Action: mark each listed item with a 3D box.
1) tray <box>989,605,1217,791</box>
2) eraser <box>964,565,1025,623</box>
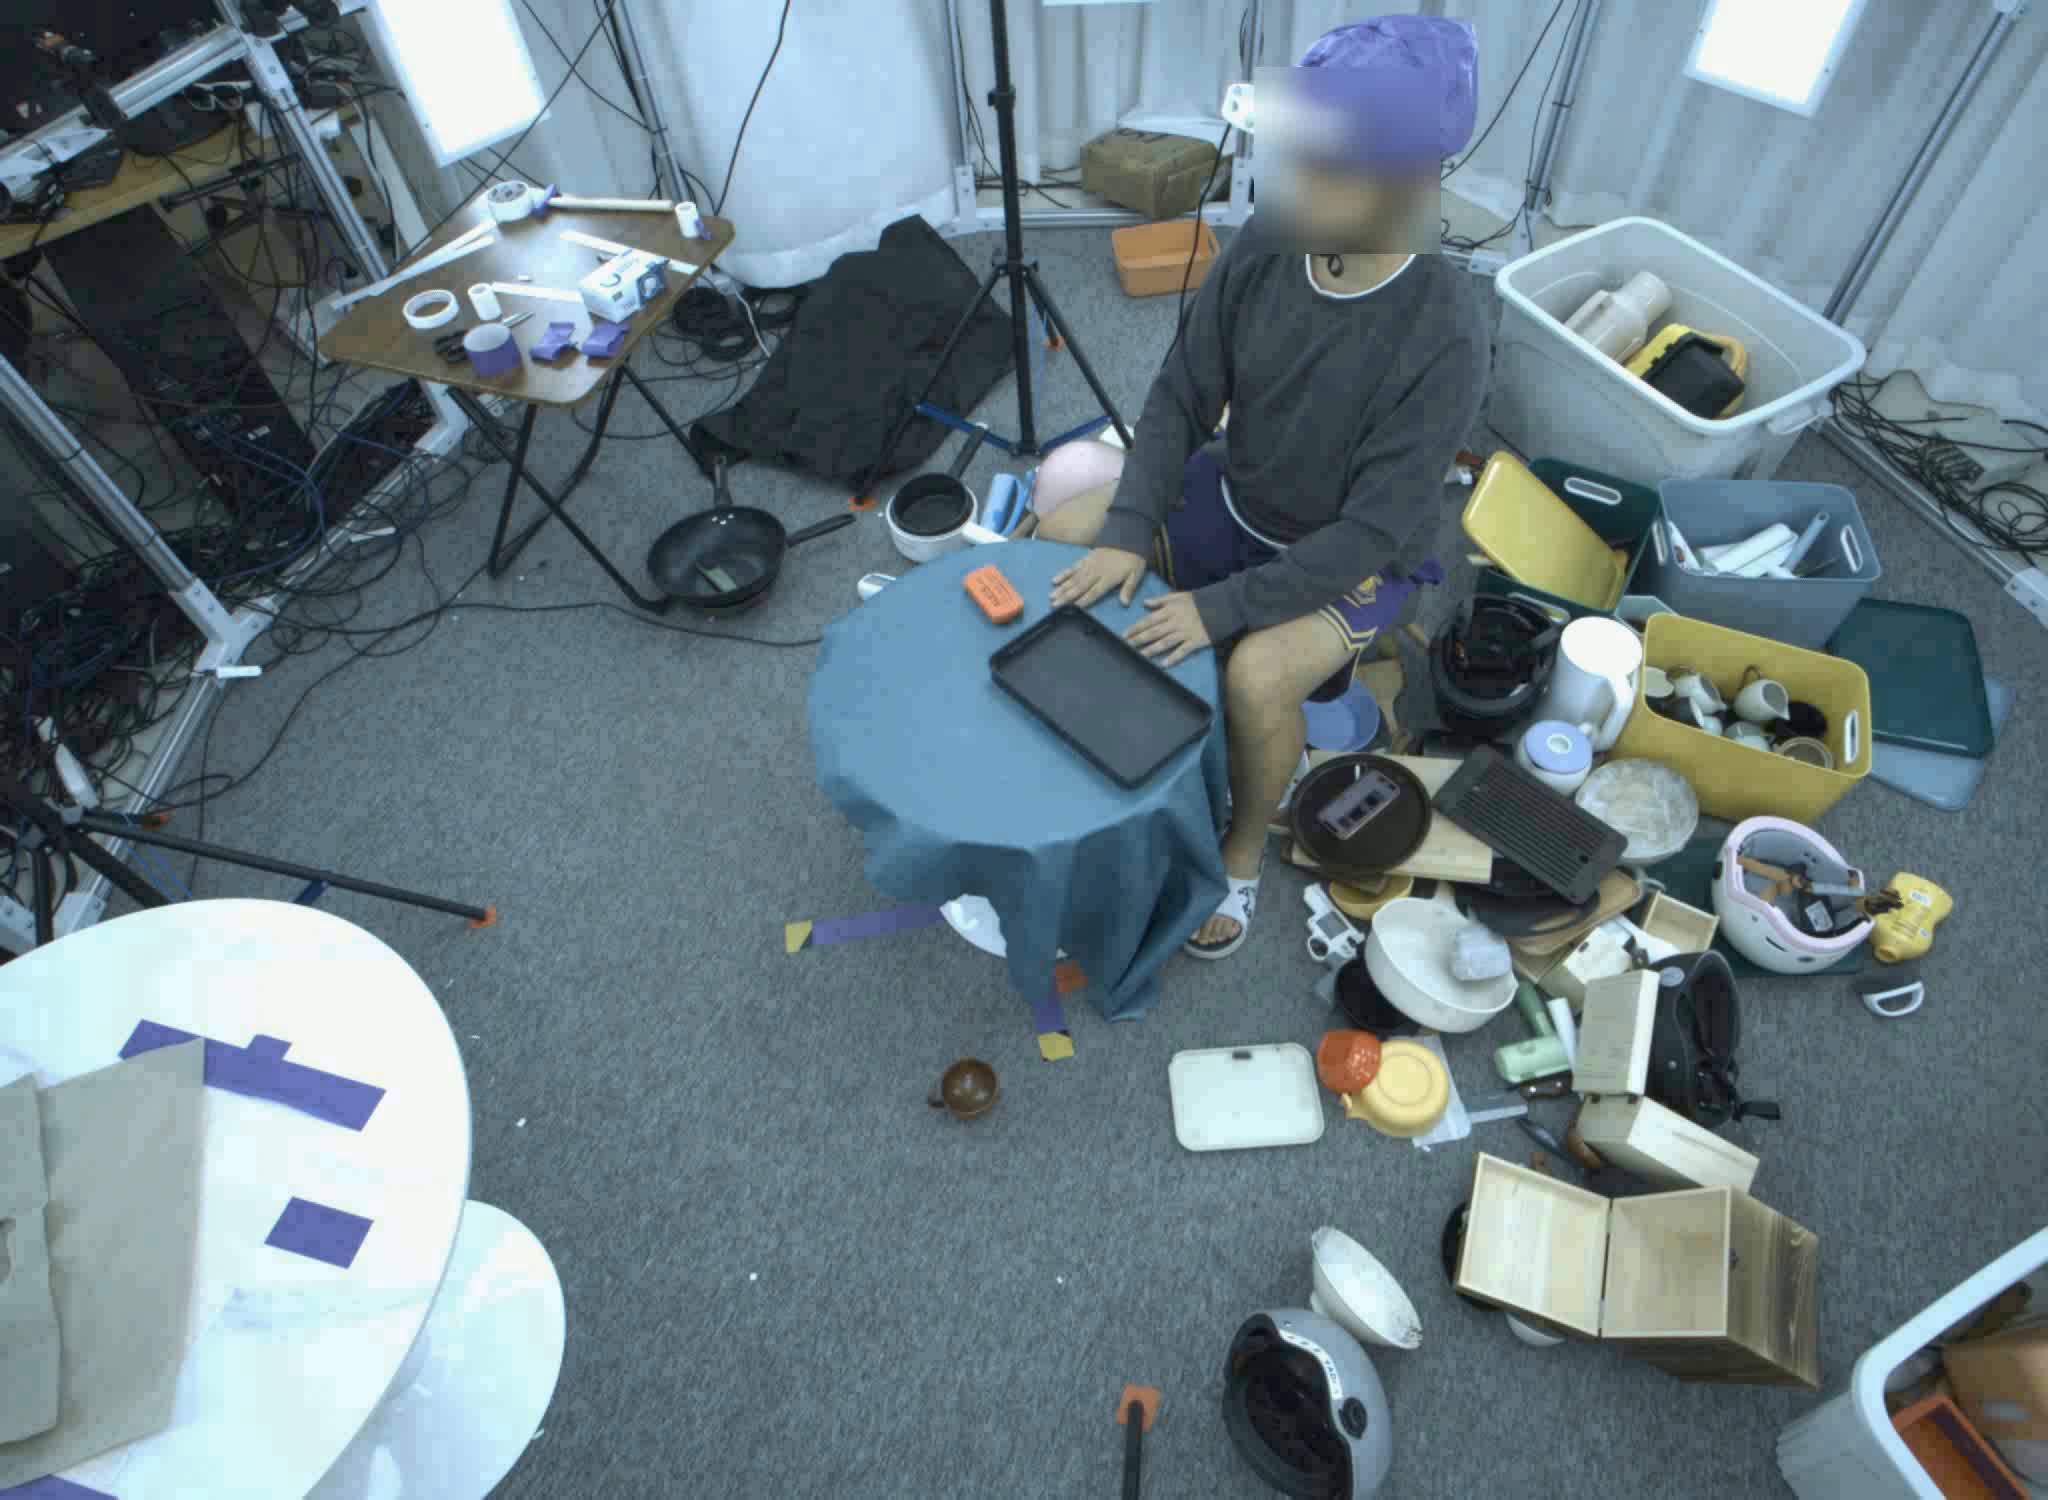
[{"bbox_3d":[0.114,-0.082,1.823,0.185,0.037,0.312,-39,61,-23],"label":"tray"},{"bbox_3d":[-0.048,-0.248,1.949,0.059,0.023,0.106,-25,56,-21],"label":"eraser"}]
